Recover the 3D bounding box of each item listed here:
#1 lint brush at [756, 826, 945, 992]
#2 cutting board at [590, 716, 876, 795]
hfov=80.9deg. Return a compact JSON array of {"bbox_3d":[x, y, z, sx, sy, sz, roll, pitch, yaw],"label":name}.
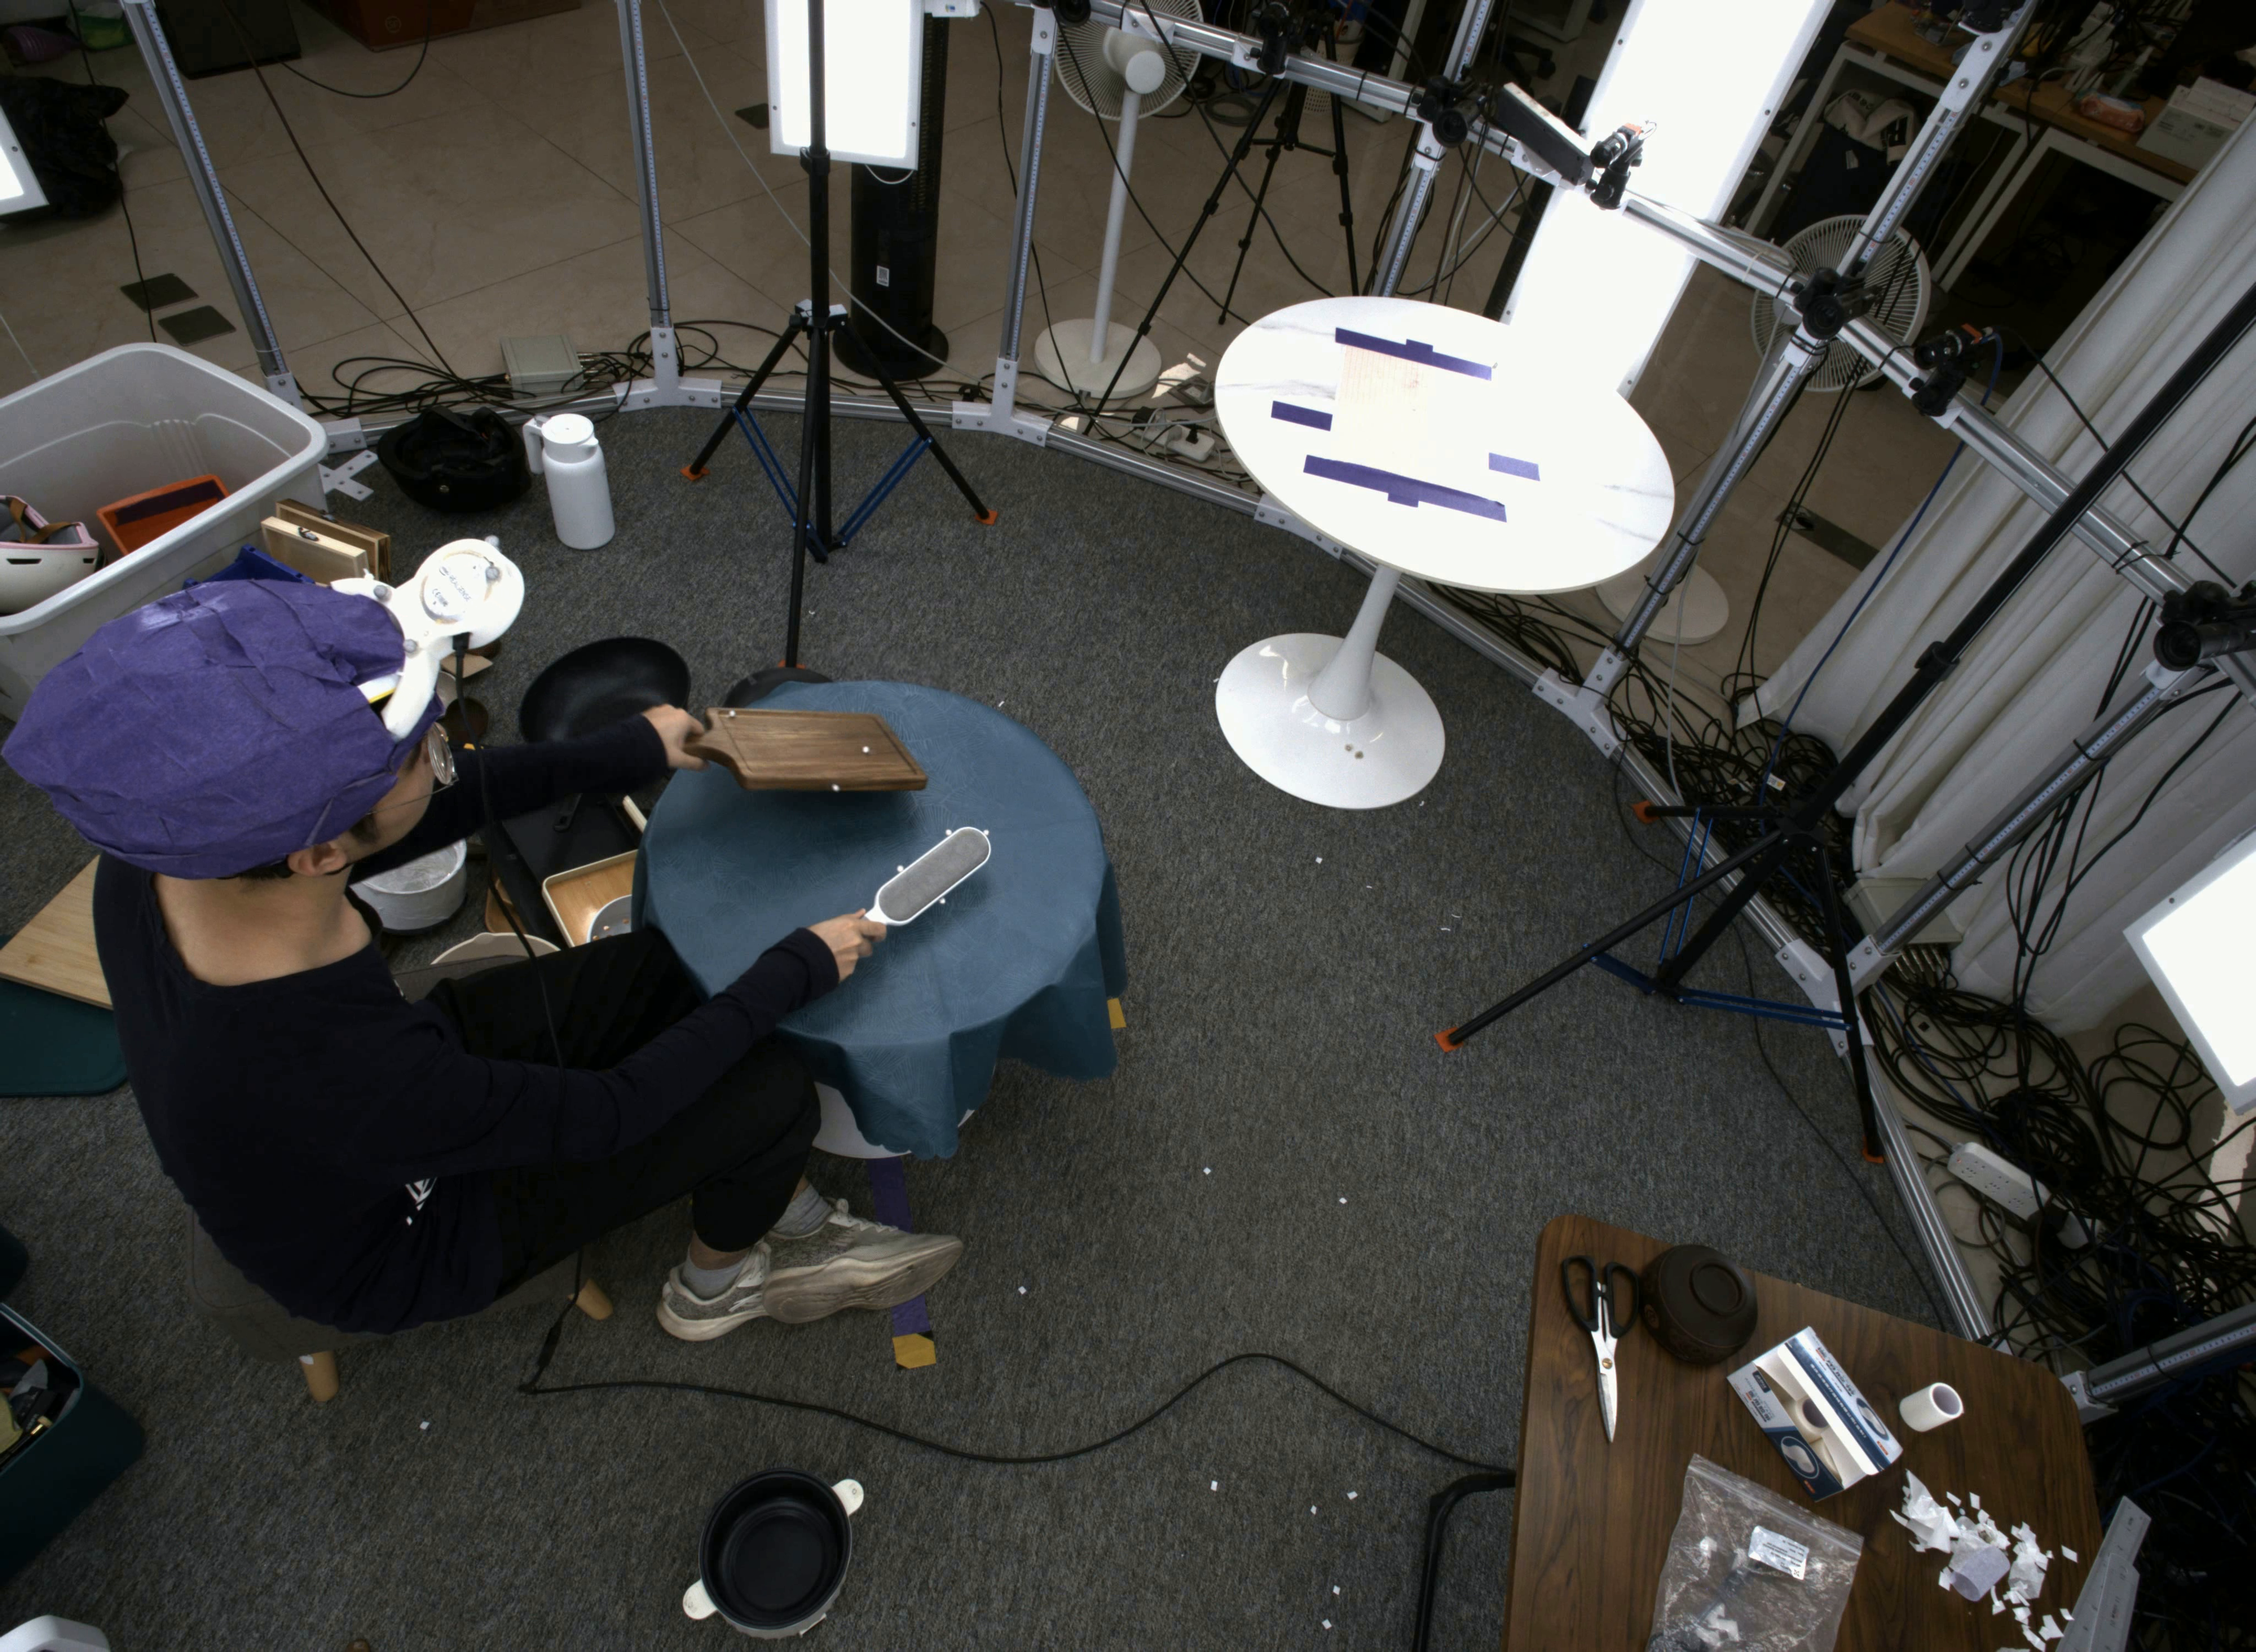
[{"bbox_3d":[-0.342,0.098,1.611,0.309,0.020,0.061,-43,100,-32],"label":"lint brush"},{"bbox_3d":[-0.521,-0.094,1.664,0.358,0.024,0.193,-2,30,-36],"label":"cutting board"}]
